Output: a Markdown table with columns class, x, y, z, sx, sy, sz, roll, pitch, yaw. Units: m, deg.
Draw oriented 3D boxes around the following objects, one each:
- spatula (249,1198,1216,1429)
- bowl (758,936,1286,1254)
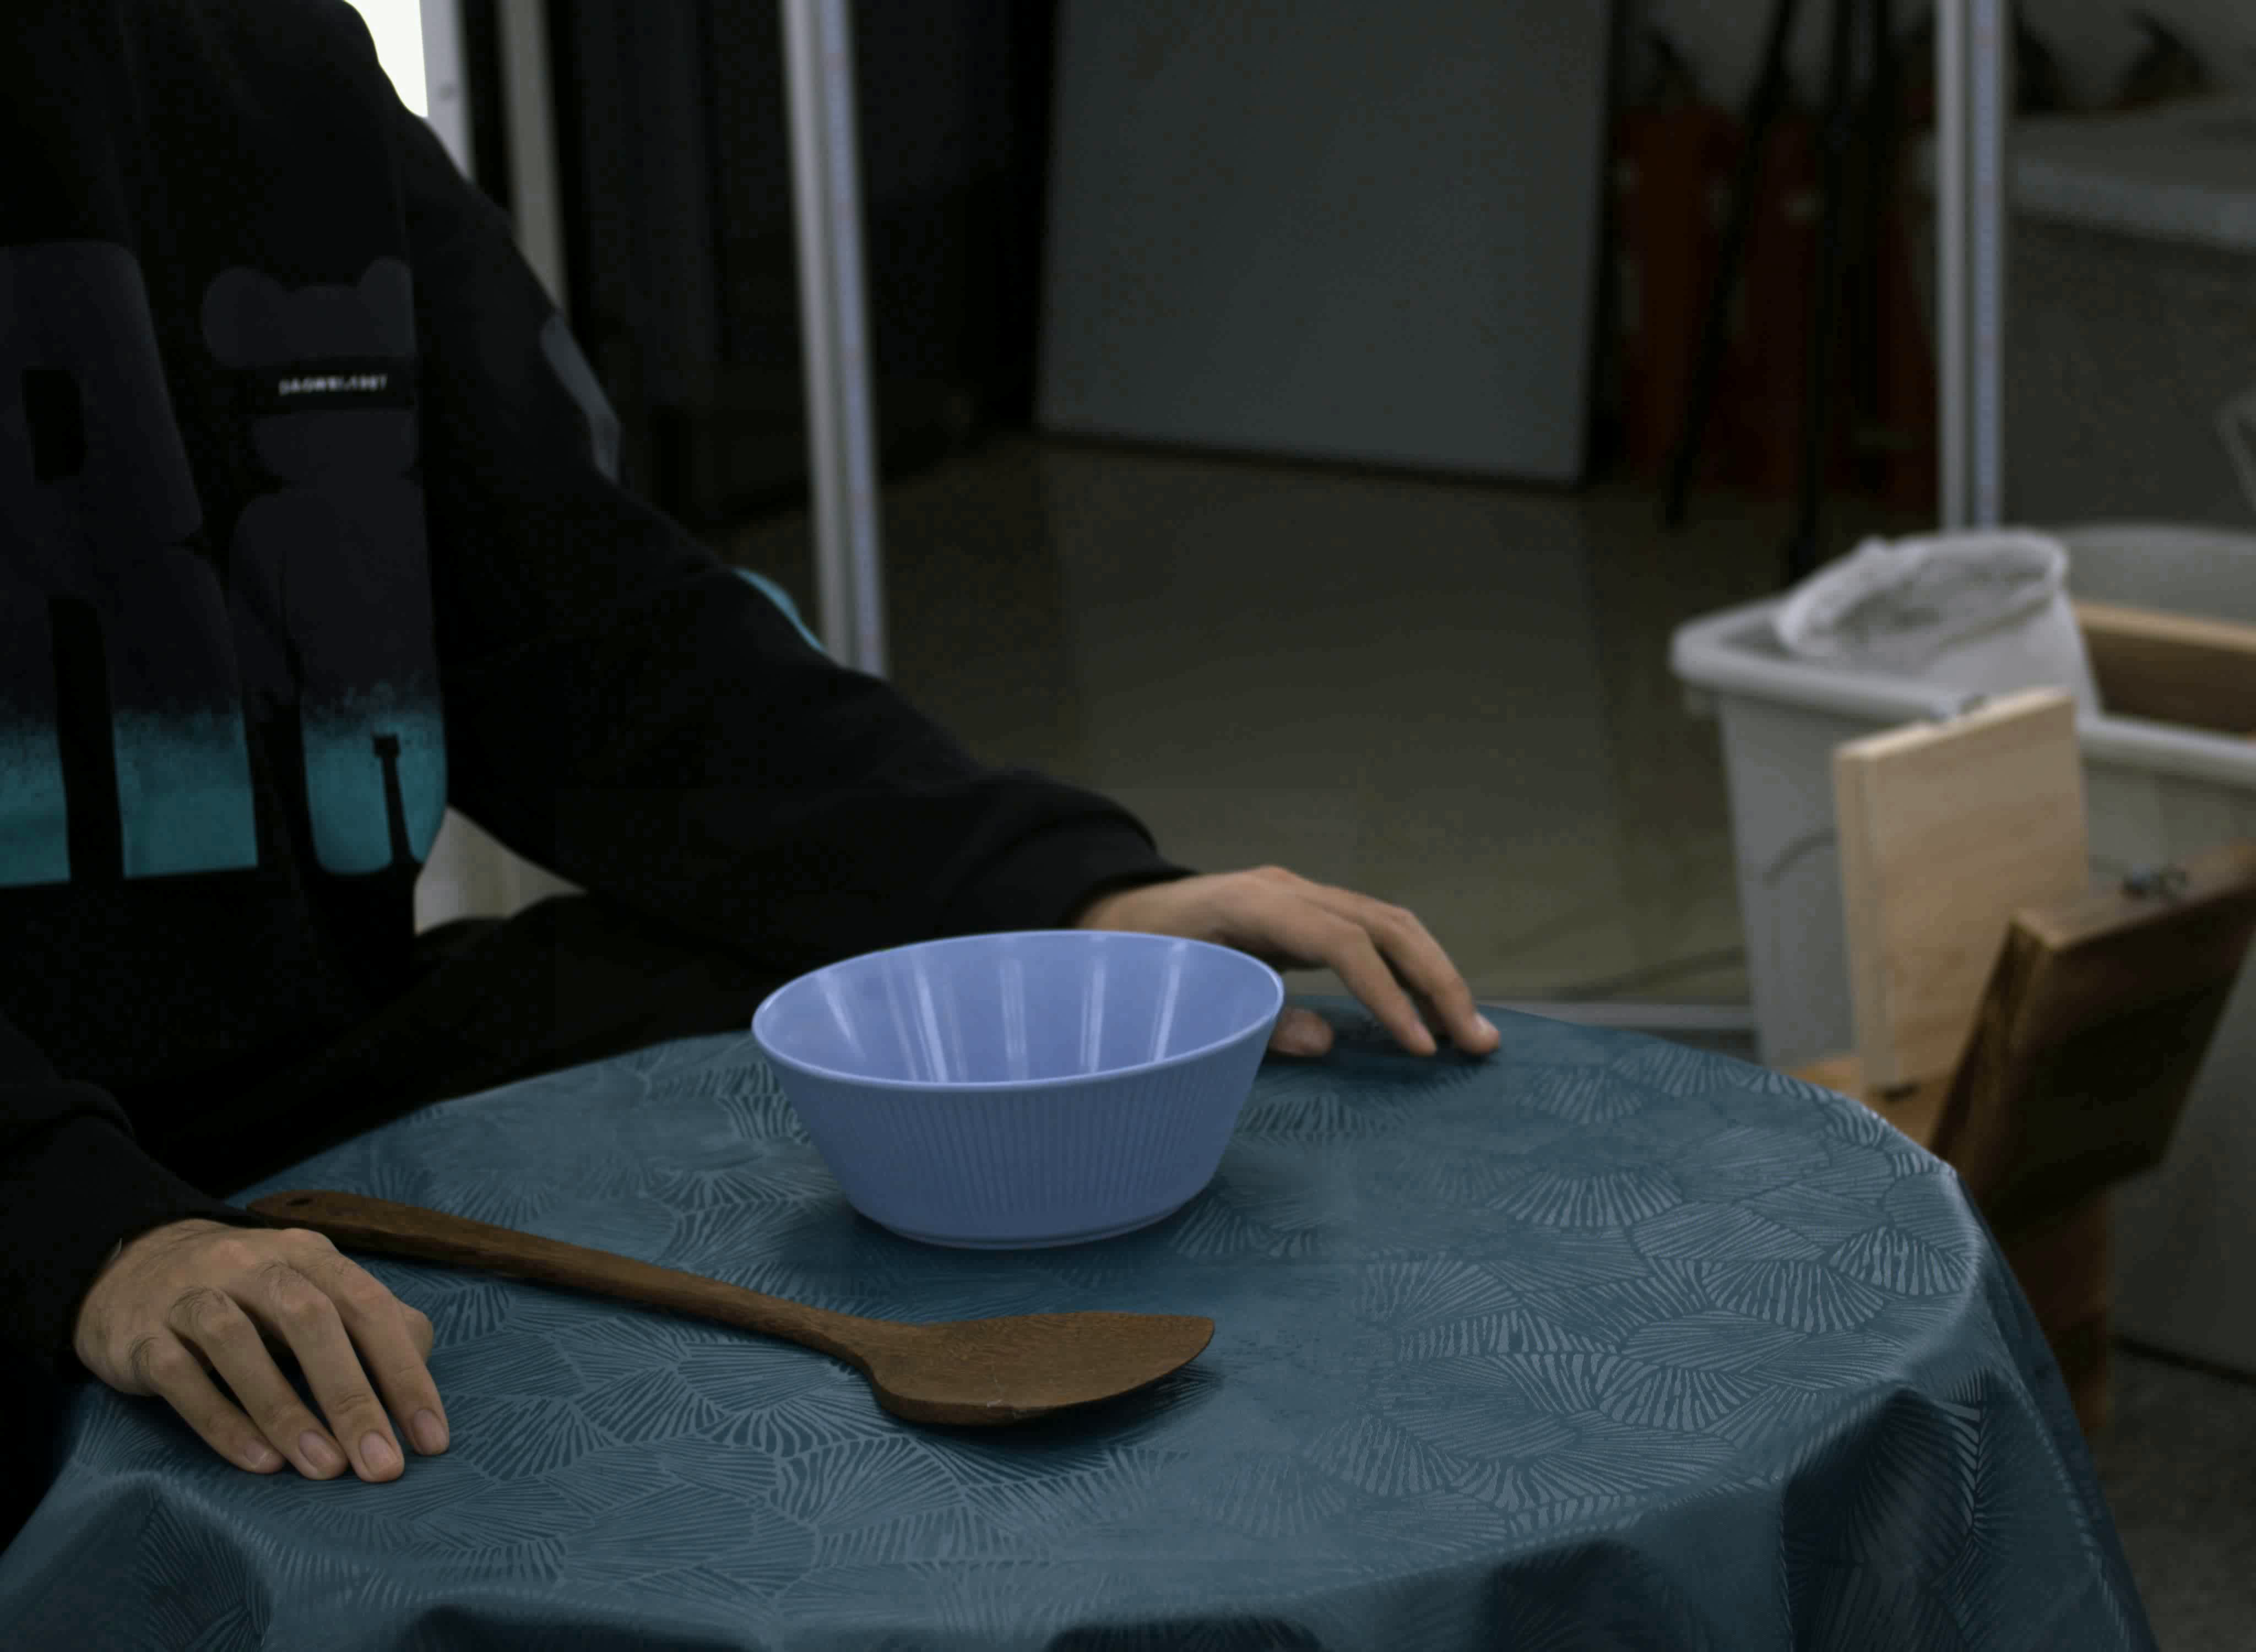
| class | x | y | z | sx | sy | sz | roll | pitch | yaw |
| --- | --- | --- | --- | --- | --- | --- | --- | --- | --- |
| spatula | -0.140 | 0.147 | 1.682 | 0.389 | 0.016 | 0.094 | 7 | 17 | 39 |
| bowl | -0.032 | 0.090 | 1.761 | 0.174 | 0.071 | 0.176 | -5 | 13 | 0 |
